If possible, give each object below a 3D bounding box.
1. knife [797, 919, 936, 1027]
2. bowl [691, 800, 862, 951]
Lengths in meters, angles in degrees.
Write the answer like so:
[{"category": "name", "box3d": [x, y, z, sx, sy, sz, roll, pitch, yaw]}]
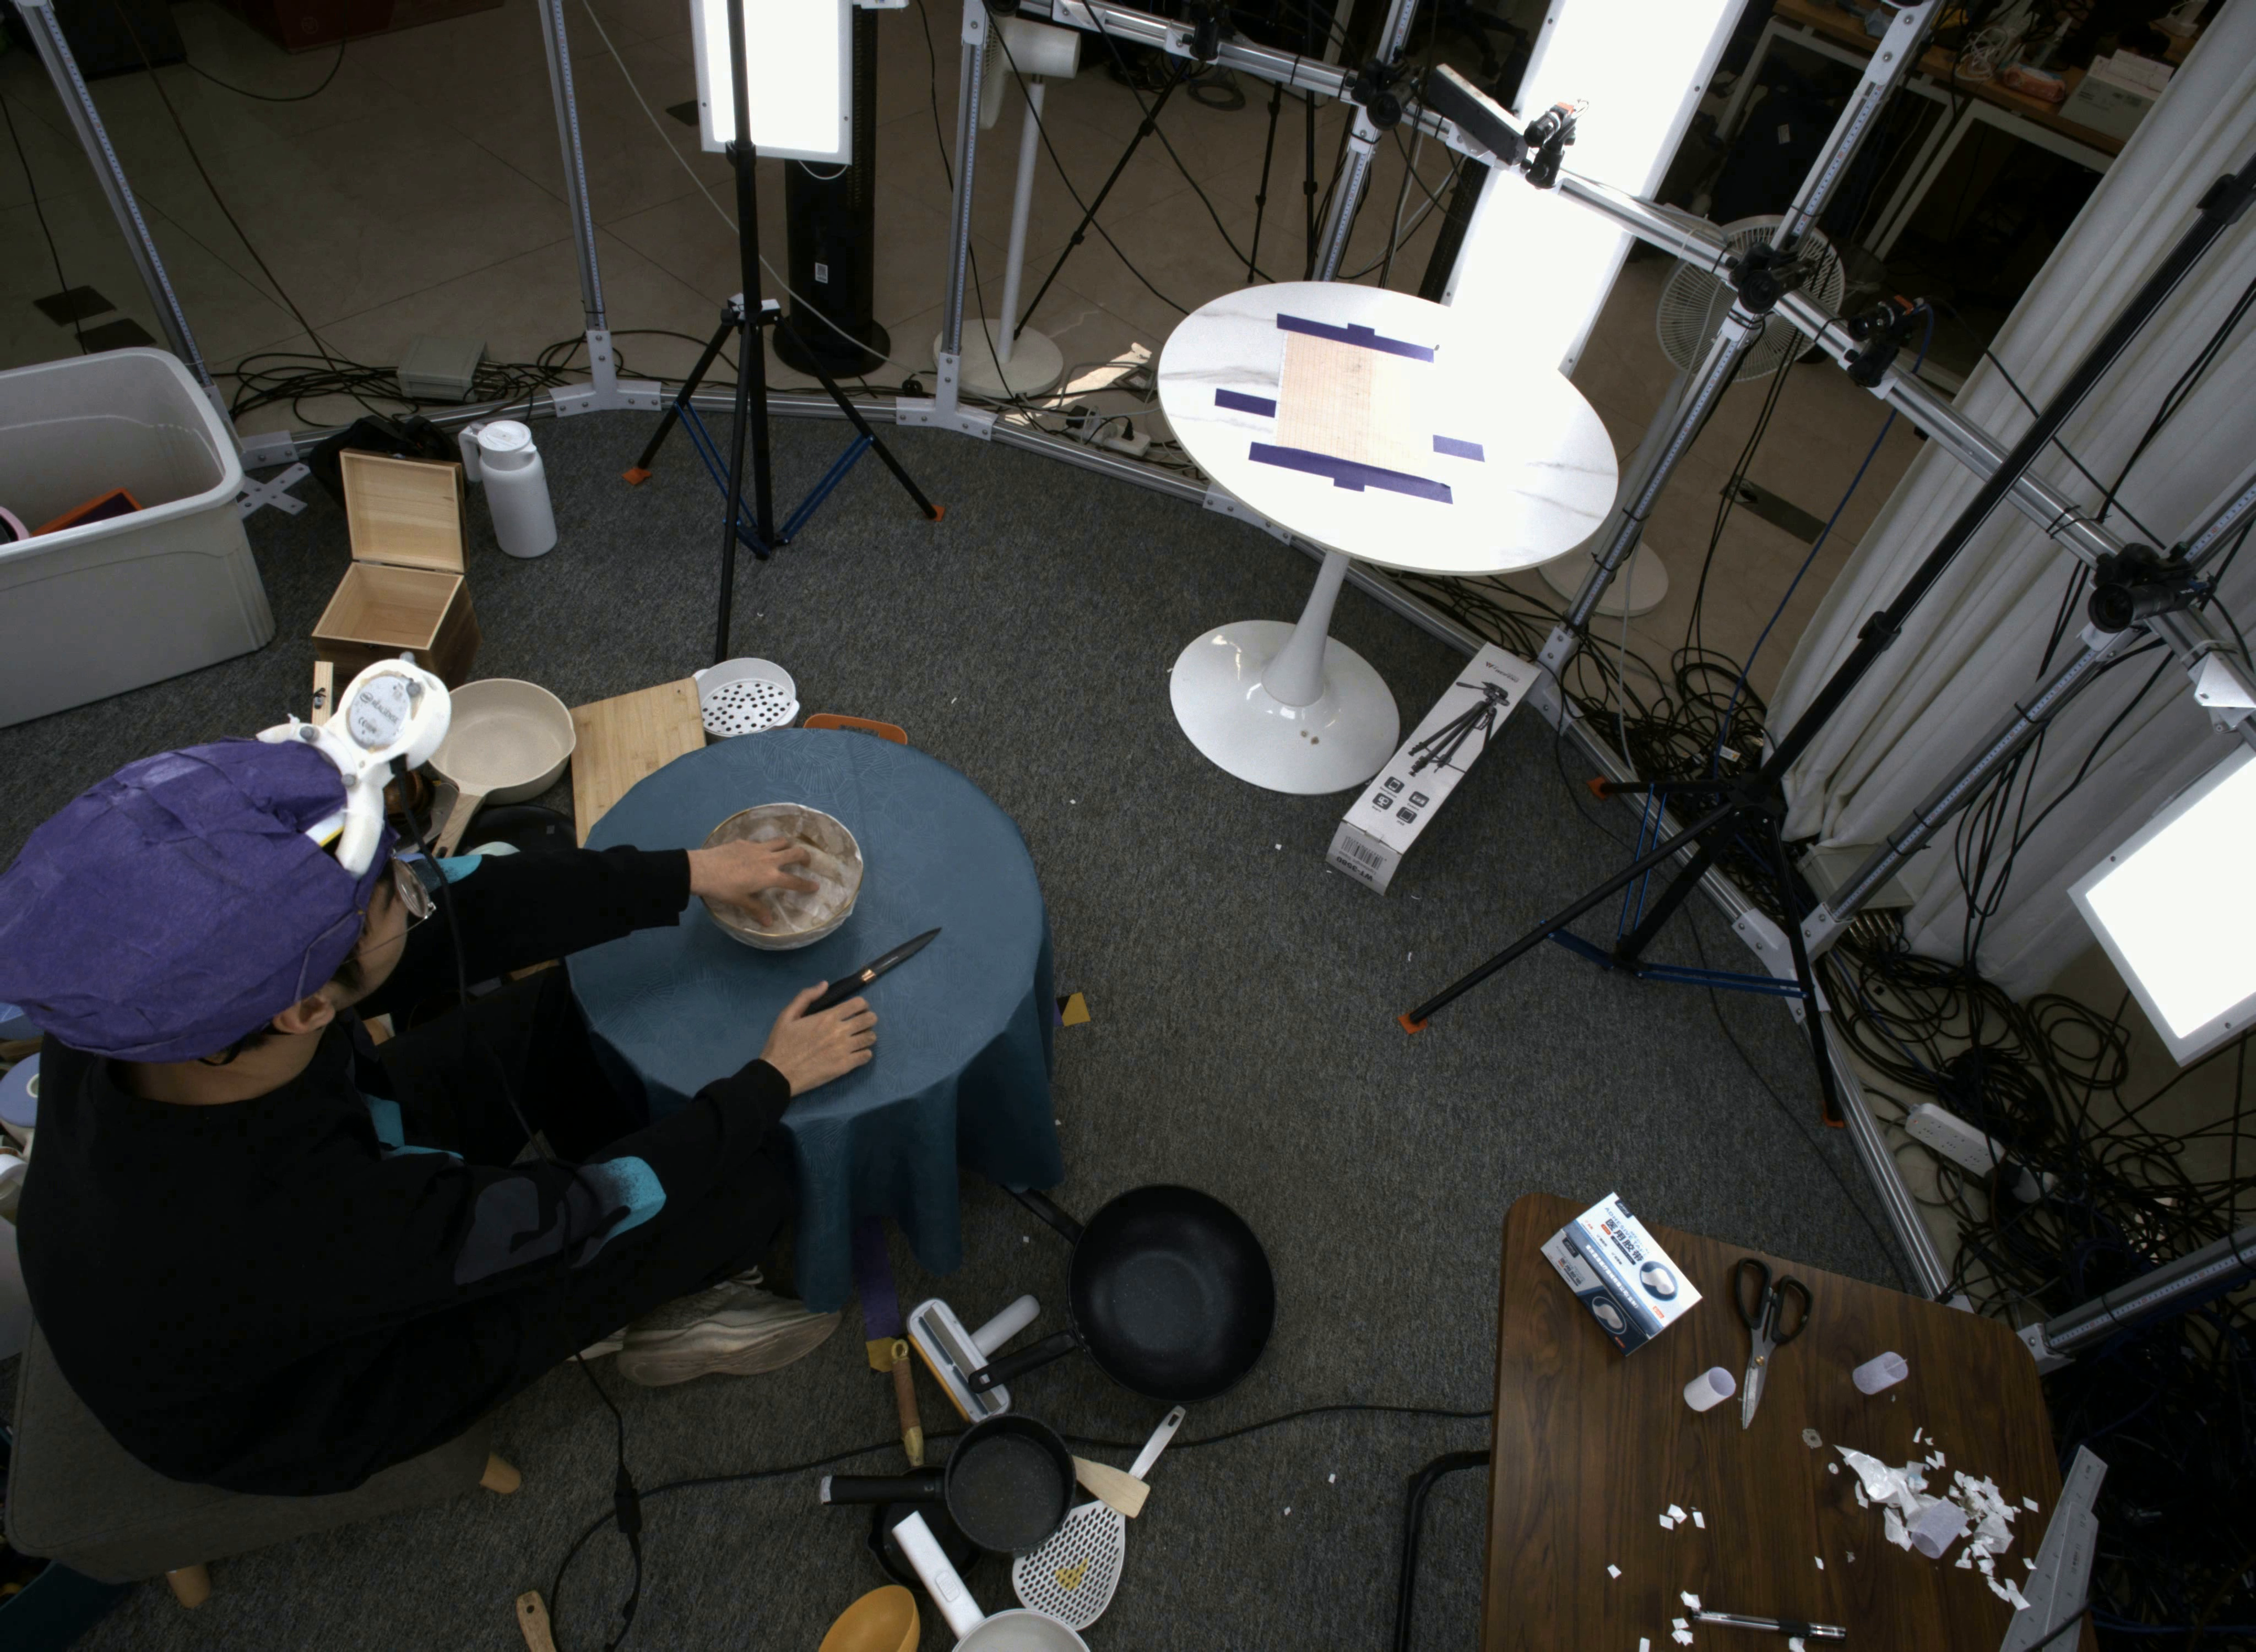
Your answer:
[{"category": "knife", "box3d": [-0.317, 0.176, 1.604, 0.025, 0.018, 0.226, 37, 52, 23]}, {"category": "bowl", "box3d": [-0.433, 0.075, 1.593, 0.214, 0.096, 0.211, 9, 52, -10]}]
